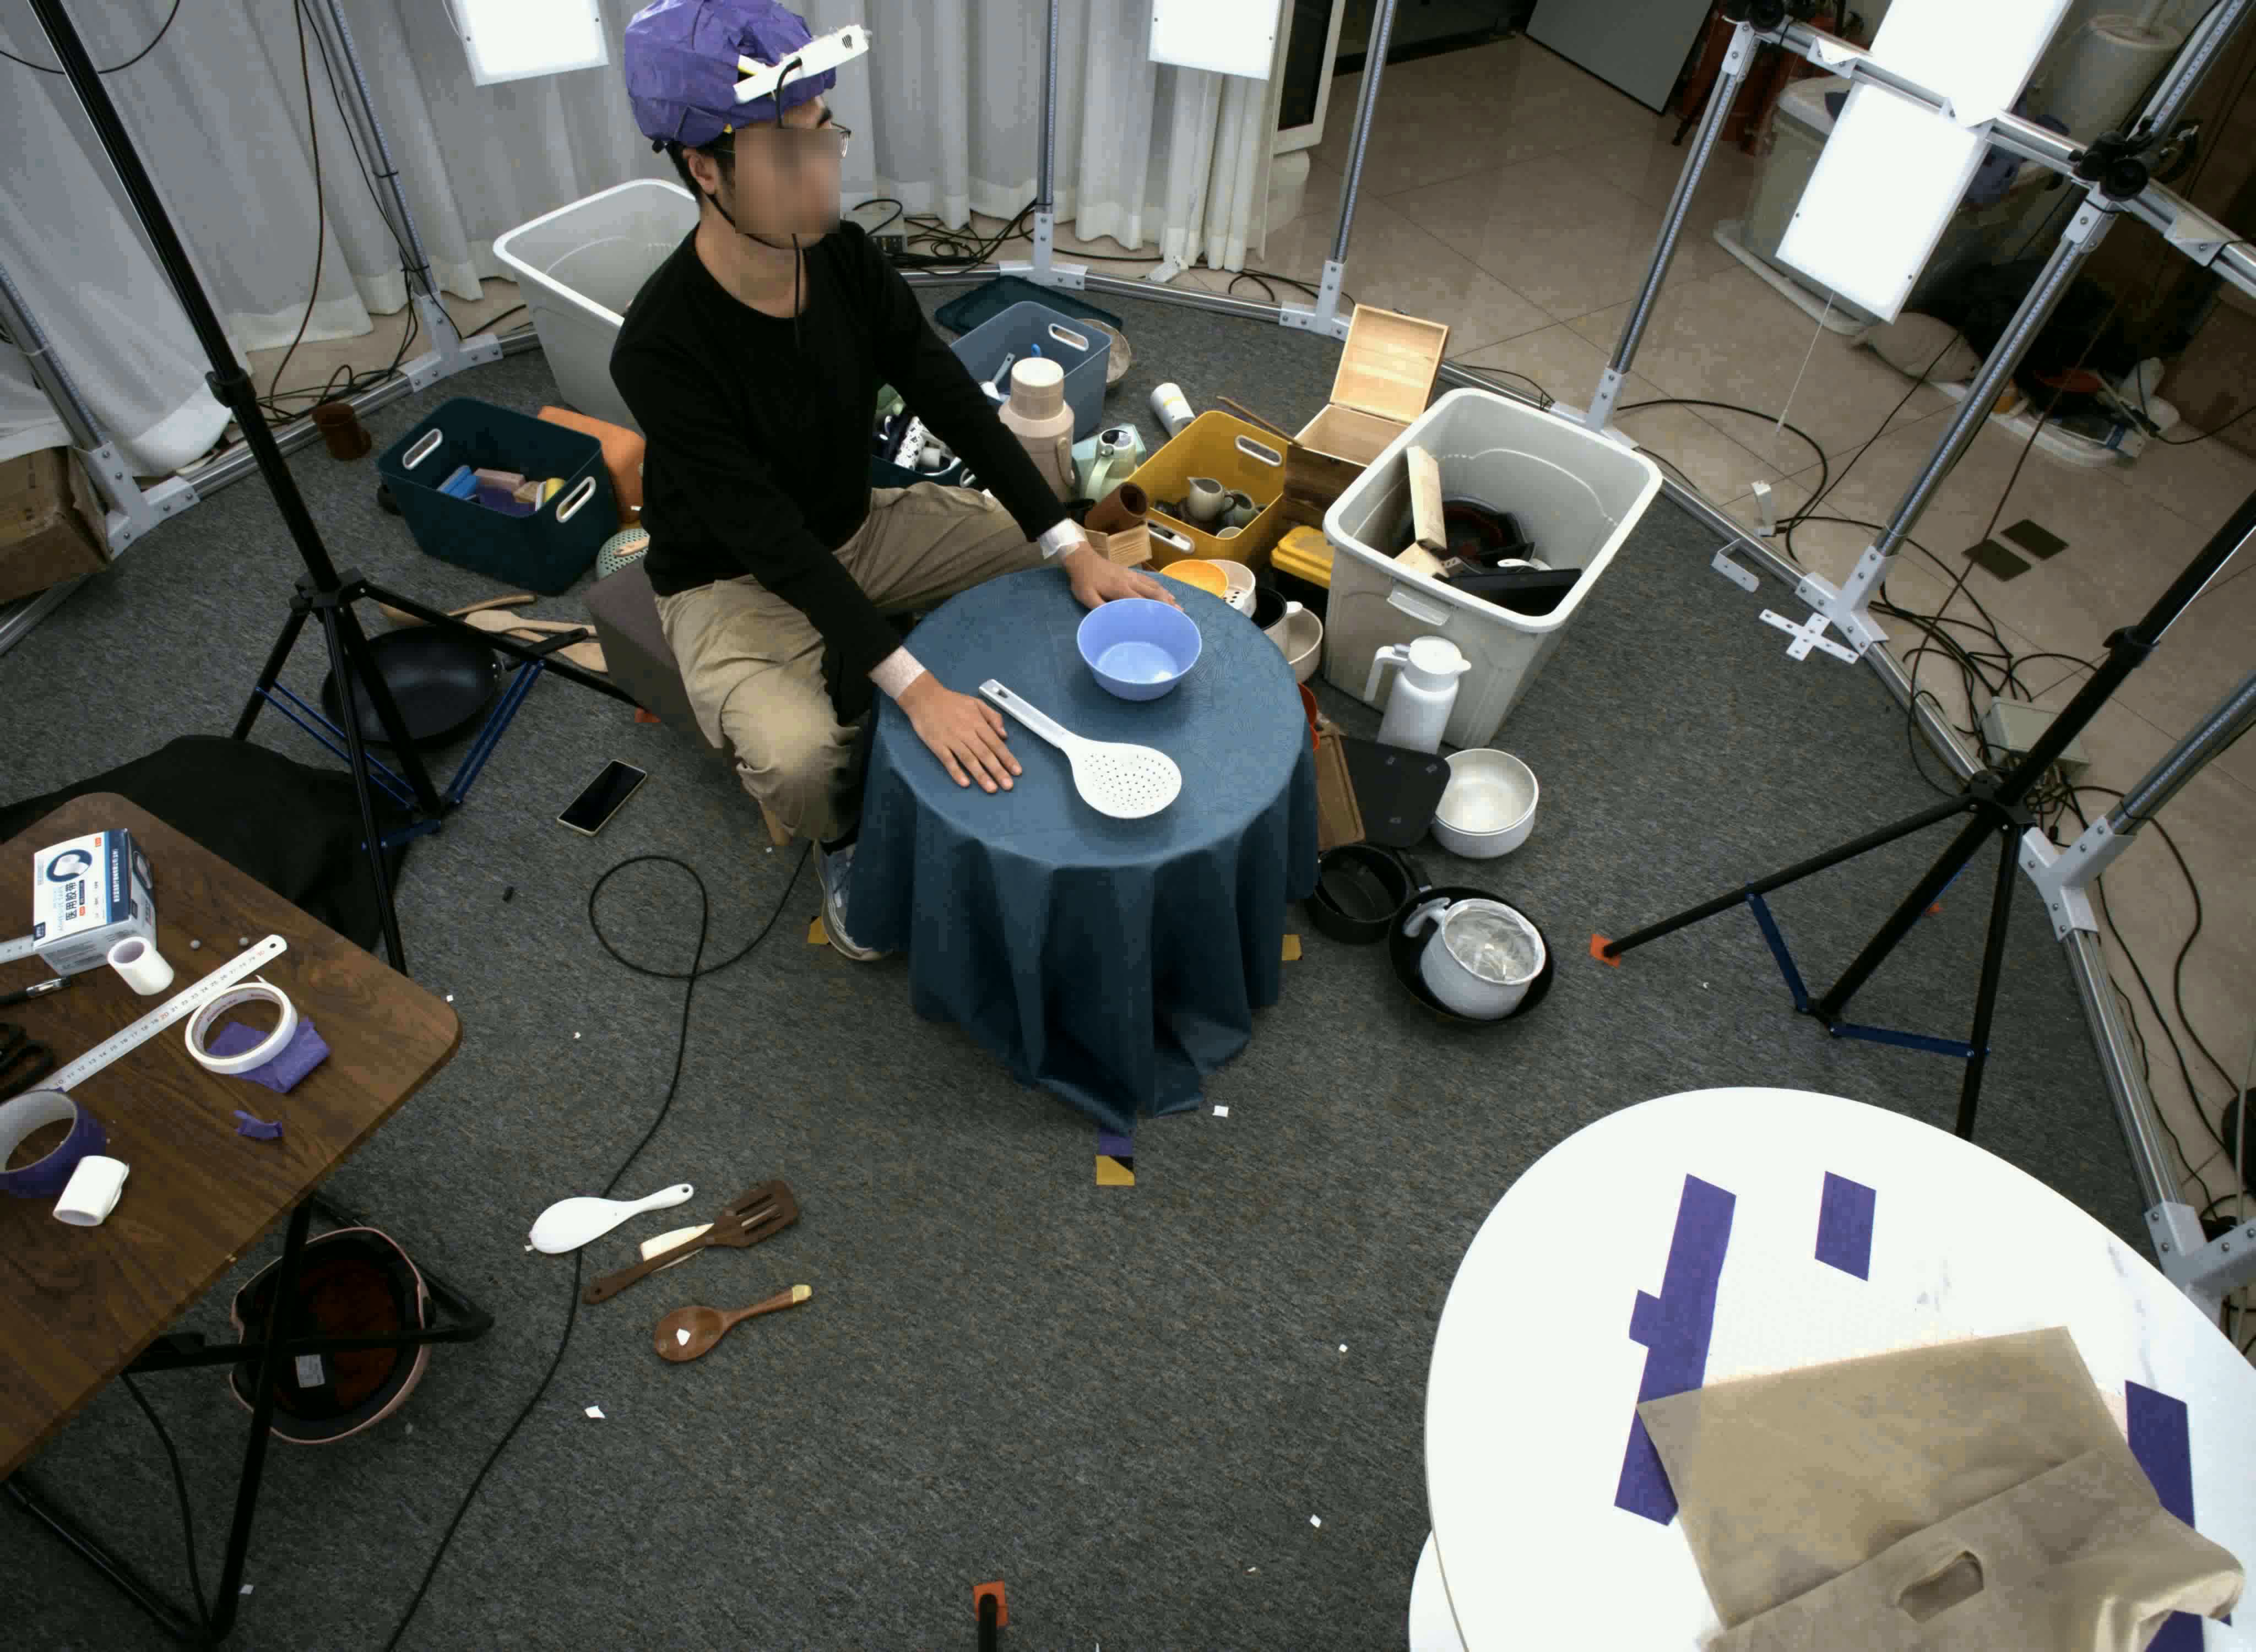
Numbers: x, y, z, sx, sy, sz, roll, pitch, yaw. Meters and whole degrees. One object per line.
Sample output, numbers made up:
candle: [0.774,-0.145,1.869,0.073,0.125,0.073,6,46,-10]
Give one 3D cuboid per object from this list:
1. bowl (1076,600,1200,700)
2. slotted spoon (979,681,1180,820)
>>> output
bowl: [0.014,-0.244,1.837,0.176,0.068,0.180,1,48,-2]
slotted spoon: [-0.077,-0.109,1.730,0.355,0.044,0.137,38,57,27]
